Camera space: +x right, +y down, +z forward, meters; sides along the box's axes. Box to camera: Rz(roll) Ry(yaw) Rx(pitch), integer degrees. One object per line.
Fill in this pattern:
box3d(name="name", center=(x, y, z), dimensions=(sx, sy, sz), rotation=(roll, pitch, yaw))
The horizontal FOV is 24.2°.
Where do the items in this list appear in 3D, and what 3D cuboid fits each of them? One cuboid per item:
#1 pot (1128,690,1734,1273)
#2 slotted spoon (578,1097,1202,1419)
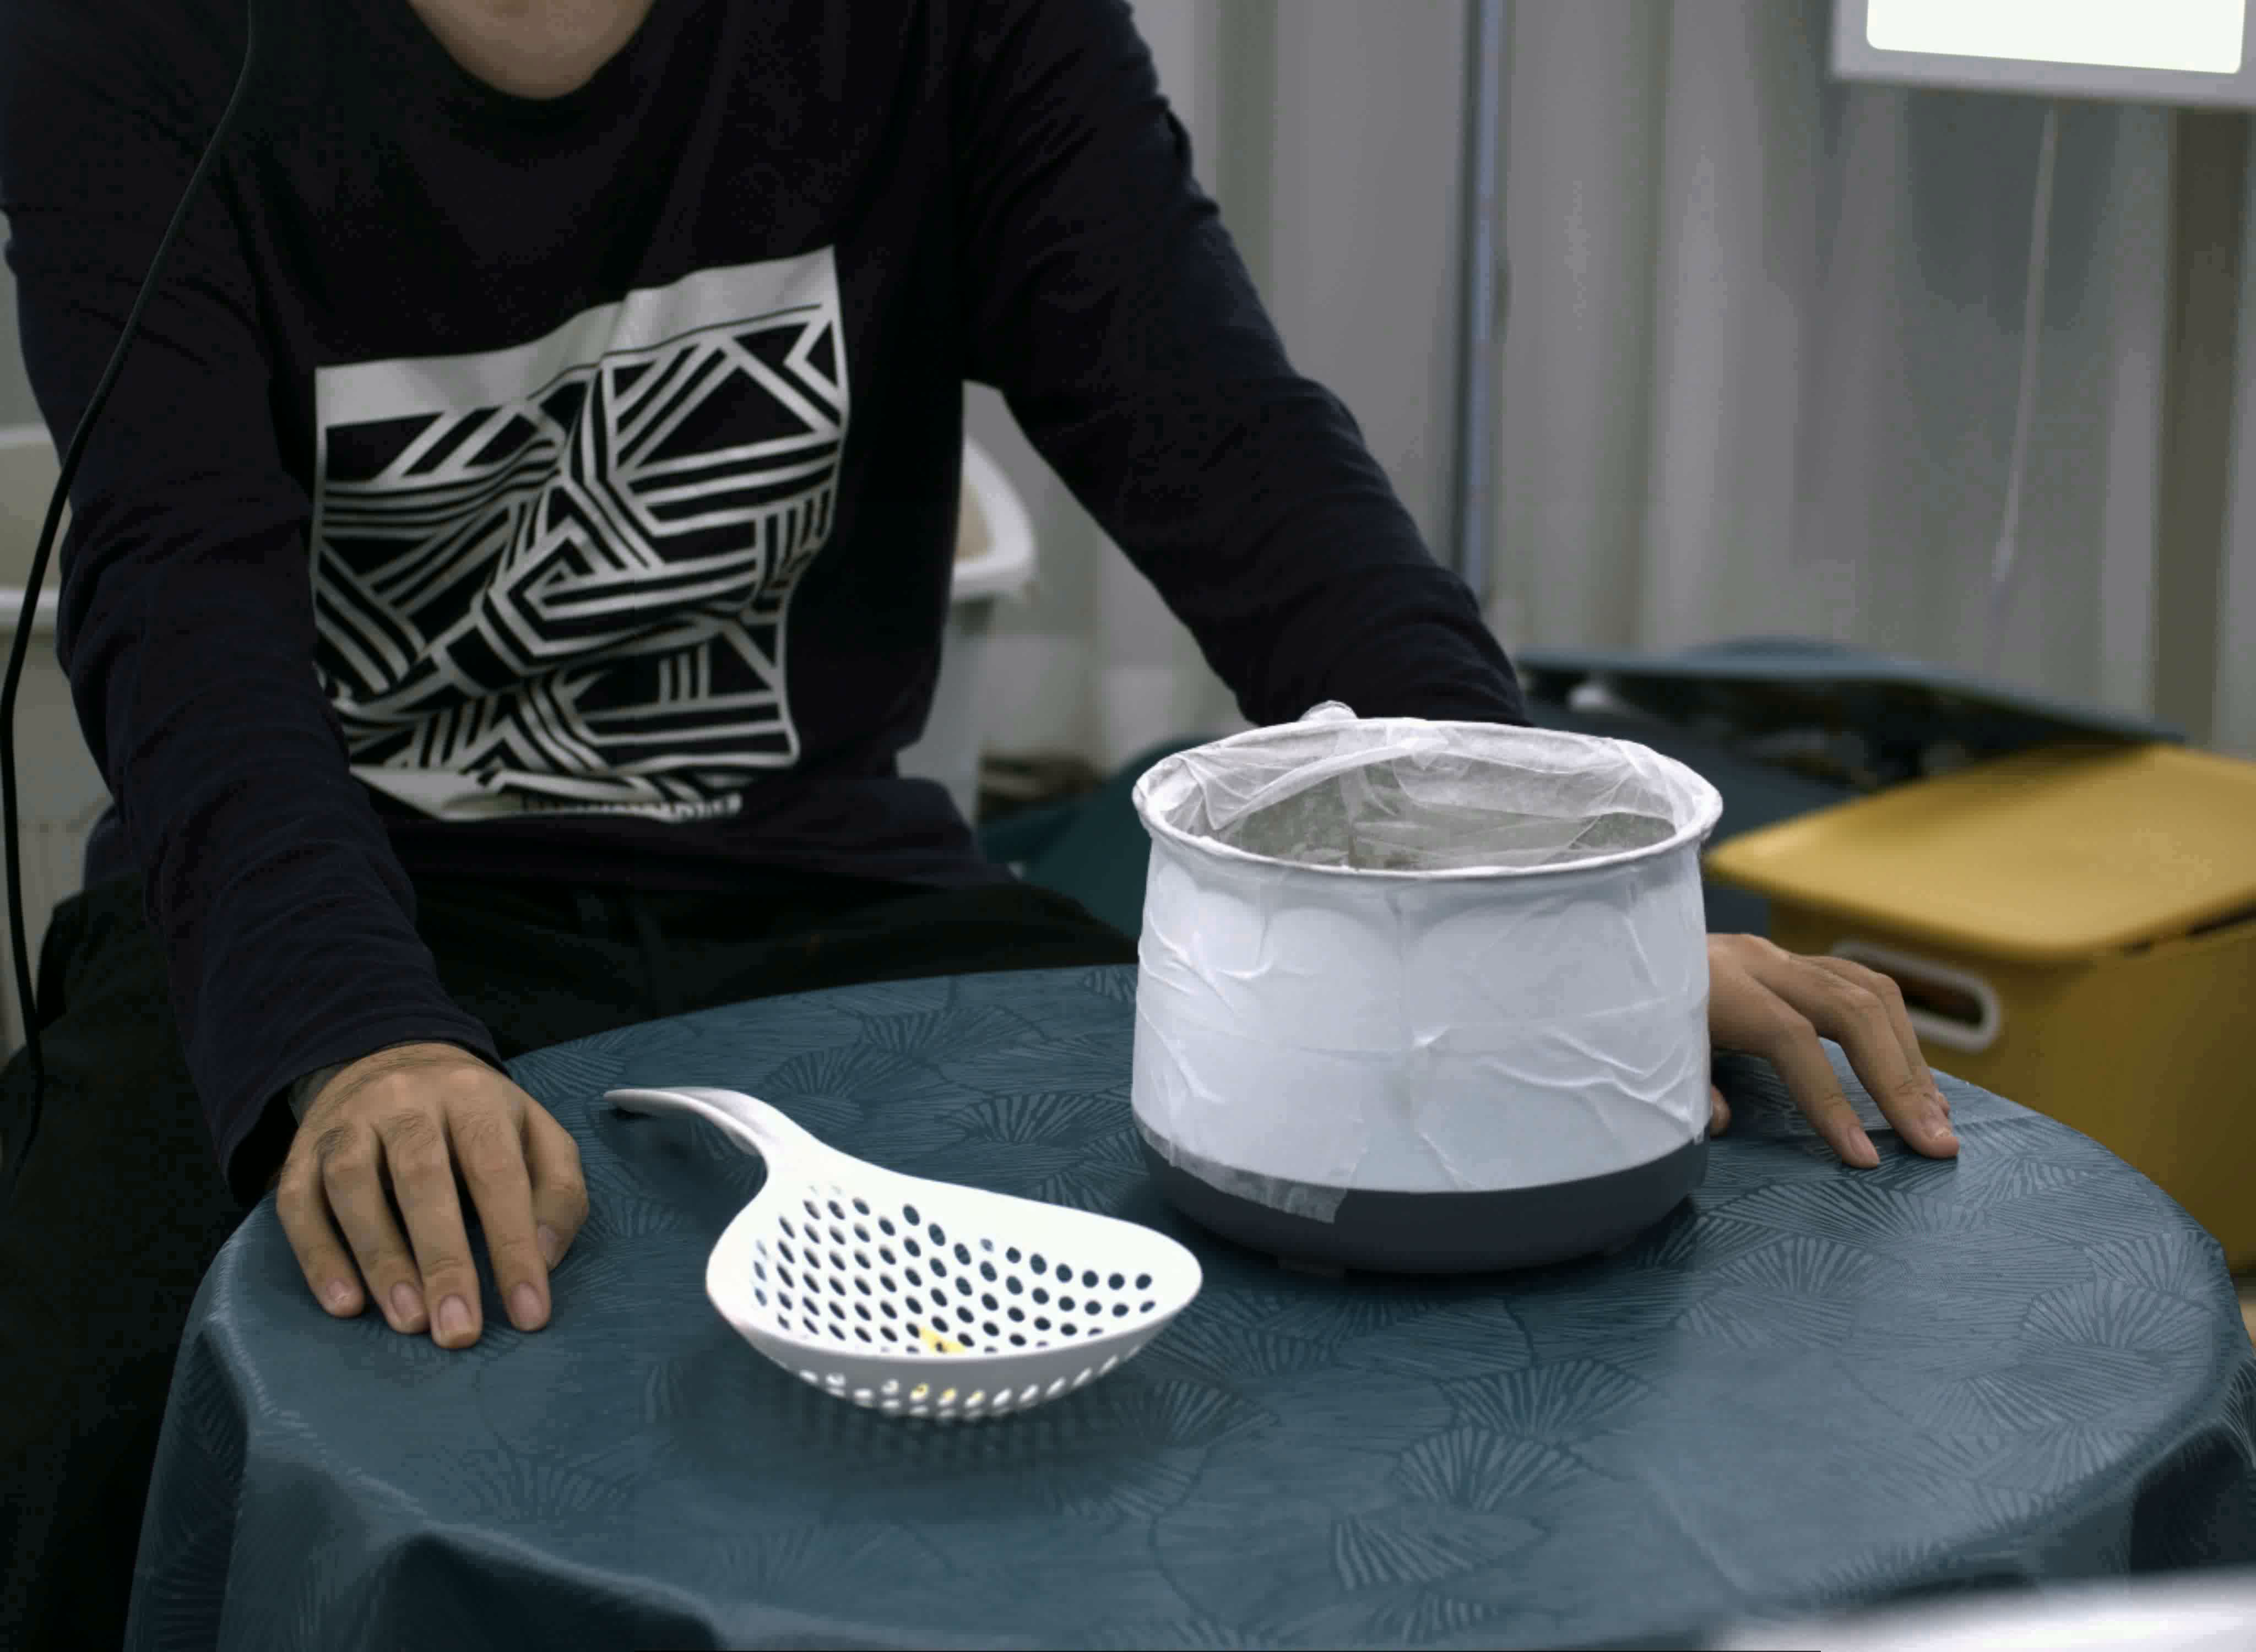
box3d(name="pot", center=(0.082, 0.042, 1.618), dimensions=(0.179, 0.137, 0.231), rotation=(-1, 17, -17))
box3d(name="slotted spoon", center=(-0.093, 0.112, 1.542), dimensions=(0.137, 0.051, 0.343), rotation=(-7, 18, -23))
